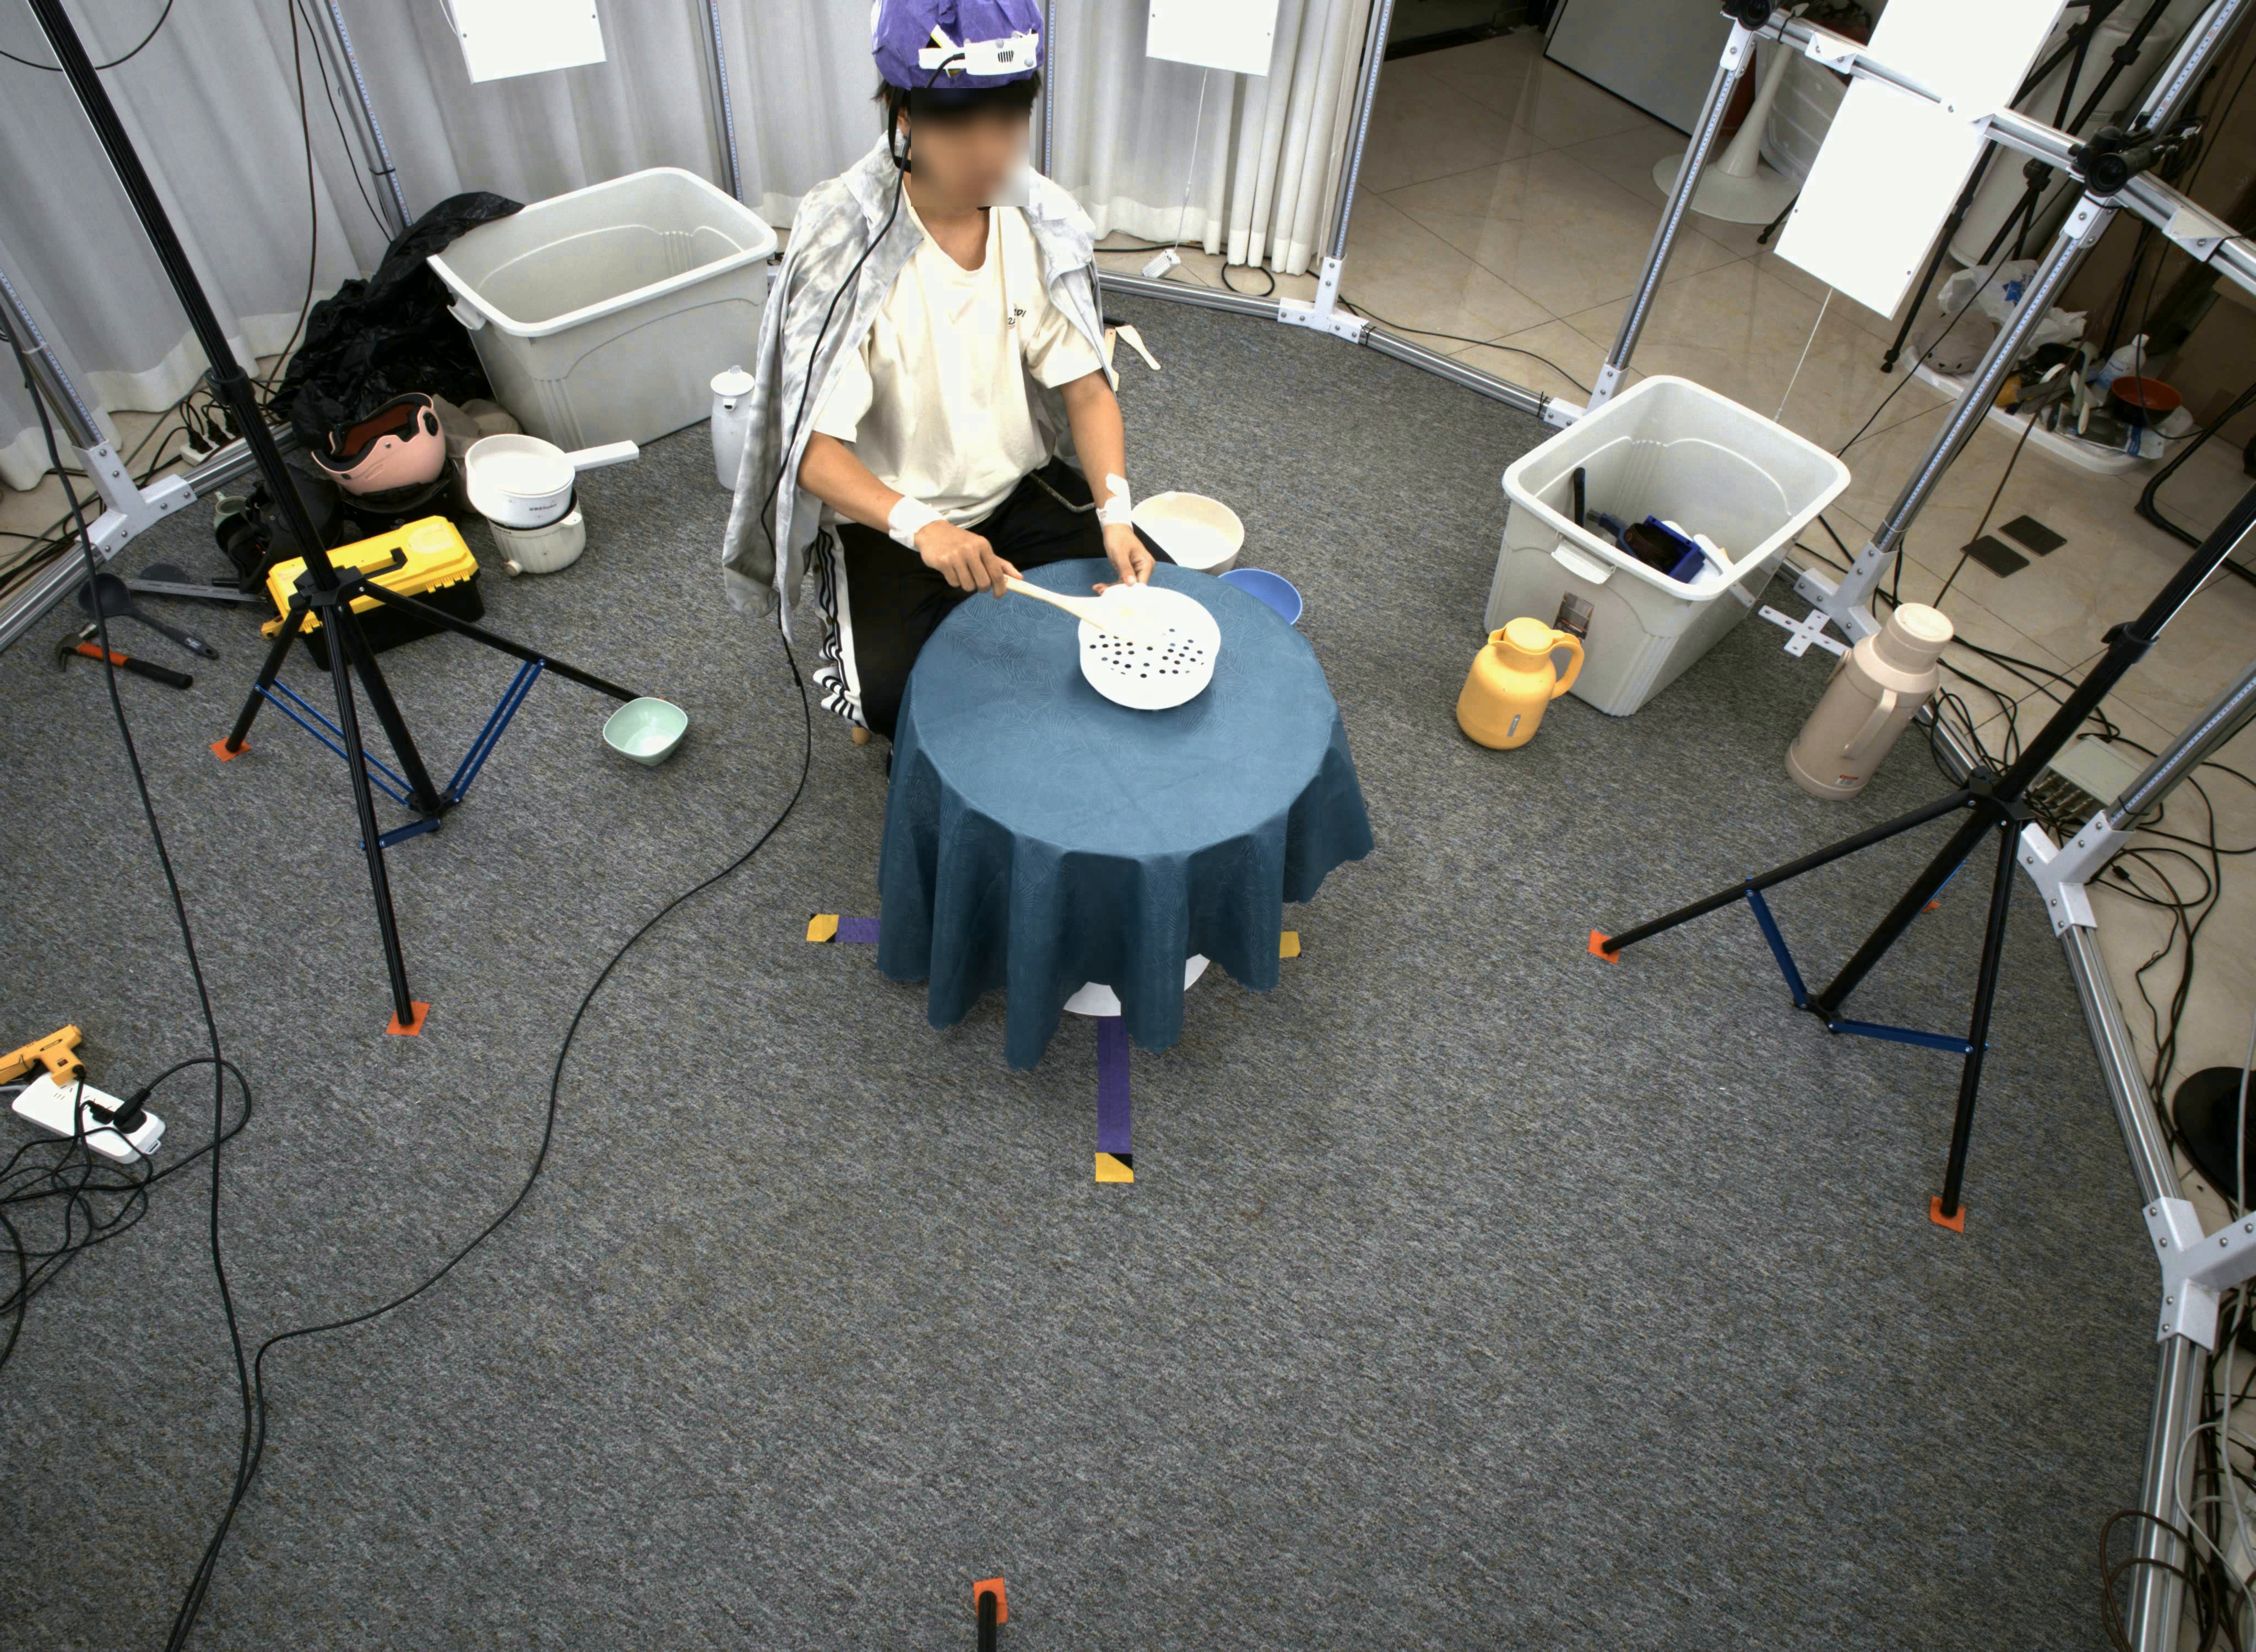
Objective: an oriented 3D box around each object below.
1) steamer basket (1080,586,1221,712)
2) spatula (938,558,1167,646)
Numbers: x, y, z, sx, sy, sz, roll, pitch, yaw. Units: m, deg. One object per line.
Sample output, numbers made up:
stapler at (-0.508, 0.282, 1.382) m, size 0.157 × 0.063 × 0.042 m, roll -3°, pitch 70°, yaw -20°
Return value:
steamer basket at (0.030, -0.249, 1.838) m, size 0.202 × 0.067 × 0.236 m, roll -12°, pitch 50°, yaw -16°
spatula at (-0.099, -0.315, 1.759) m, size 0.325 × 0.016 × 0.082 m, roll 14°, pitch 53°, yaw -17°
